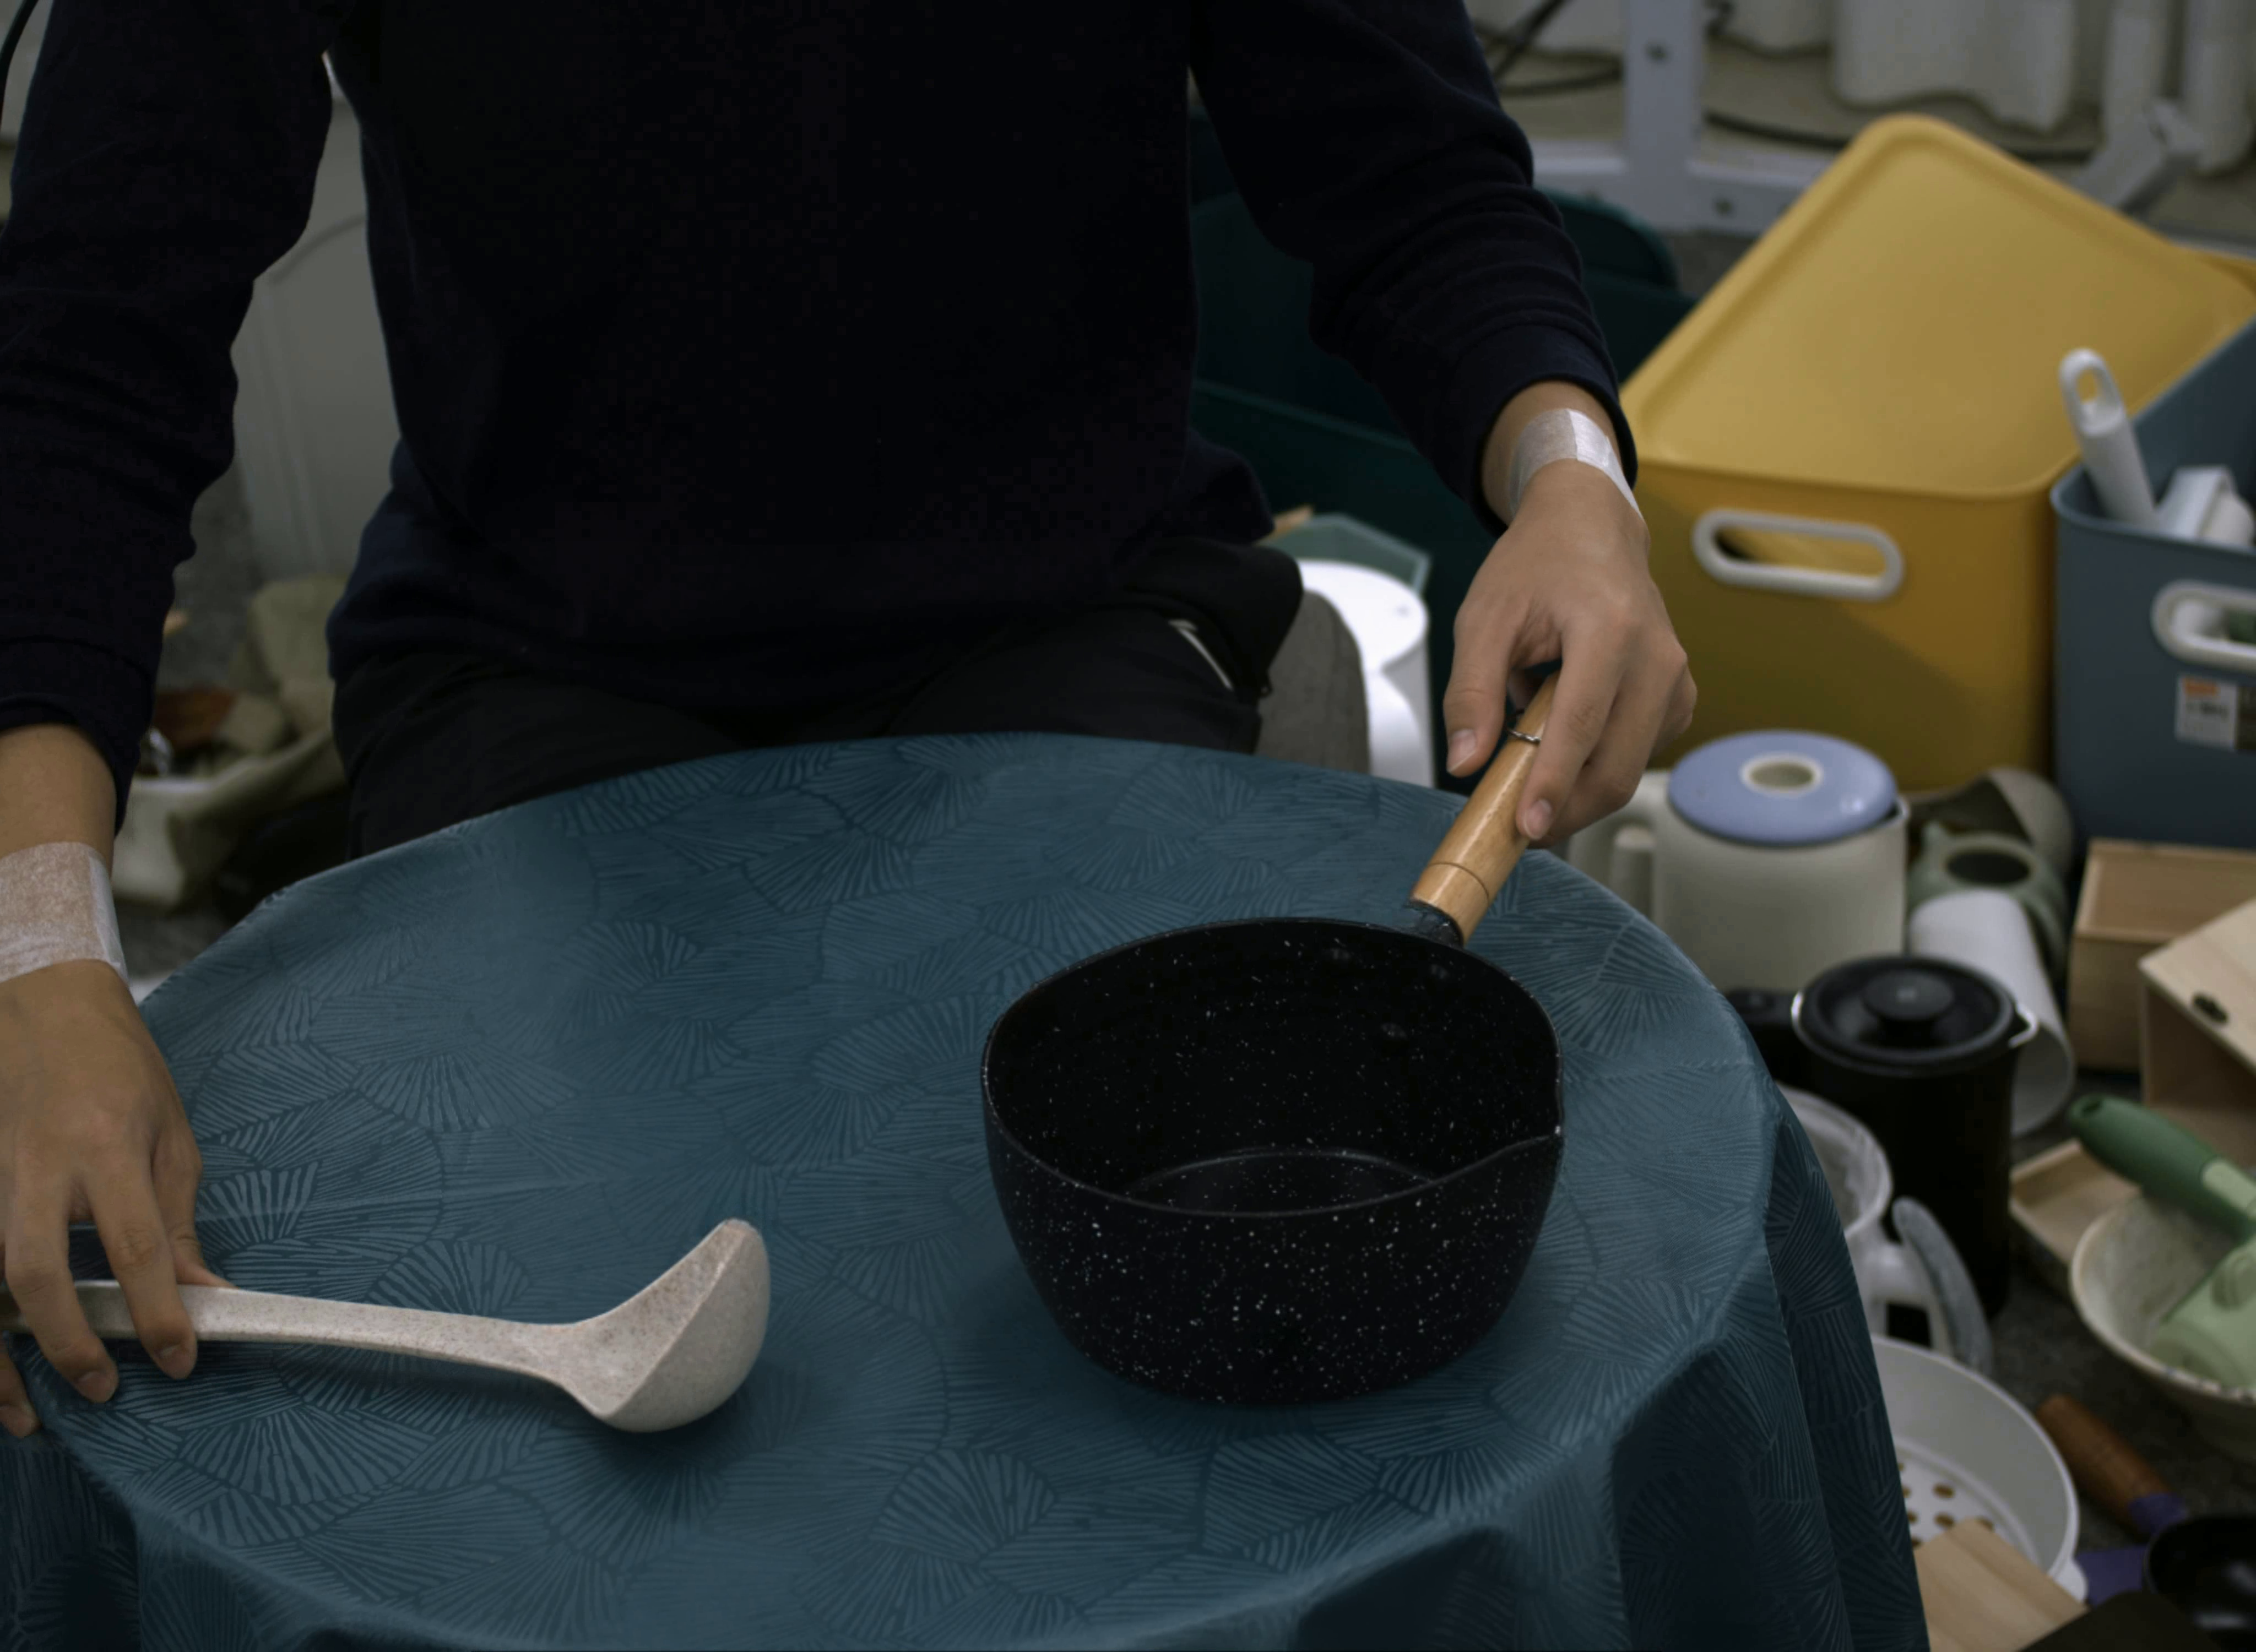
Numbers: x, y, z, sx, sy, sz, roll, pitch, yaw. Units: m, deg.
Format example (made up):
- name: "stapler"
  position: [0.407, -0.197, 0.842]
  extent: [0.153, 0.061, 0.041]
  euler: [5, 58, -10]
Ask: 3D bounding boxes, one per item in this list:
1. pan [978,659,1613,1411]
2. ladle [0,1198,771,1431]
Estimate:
- name: "pan"
  position: [0.081, 0.064, 1.848]
  extent: [0.206, 0.107, 0.349]
  euler: [9, 31, 25]
- name: "ladle"
  position: [-0.244, 0.145, 1.772]
  extent: [0.273, 0.068, 0.091]
  euler: [4, 34, 15]
